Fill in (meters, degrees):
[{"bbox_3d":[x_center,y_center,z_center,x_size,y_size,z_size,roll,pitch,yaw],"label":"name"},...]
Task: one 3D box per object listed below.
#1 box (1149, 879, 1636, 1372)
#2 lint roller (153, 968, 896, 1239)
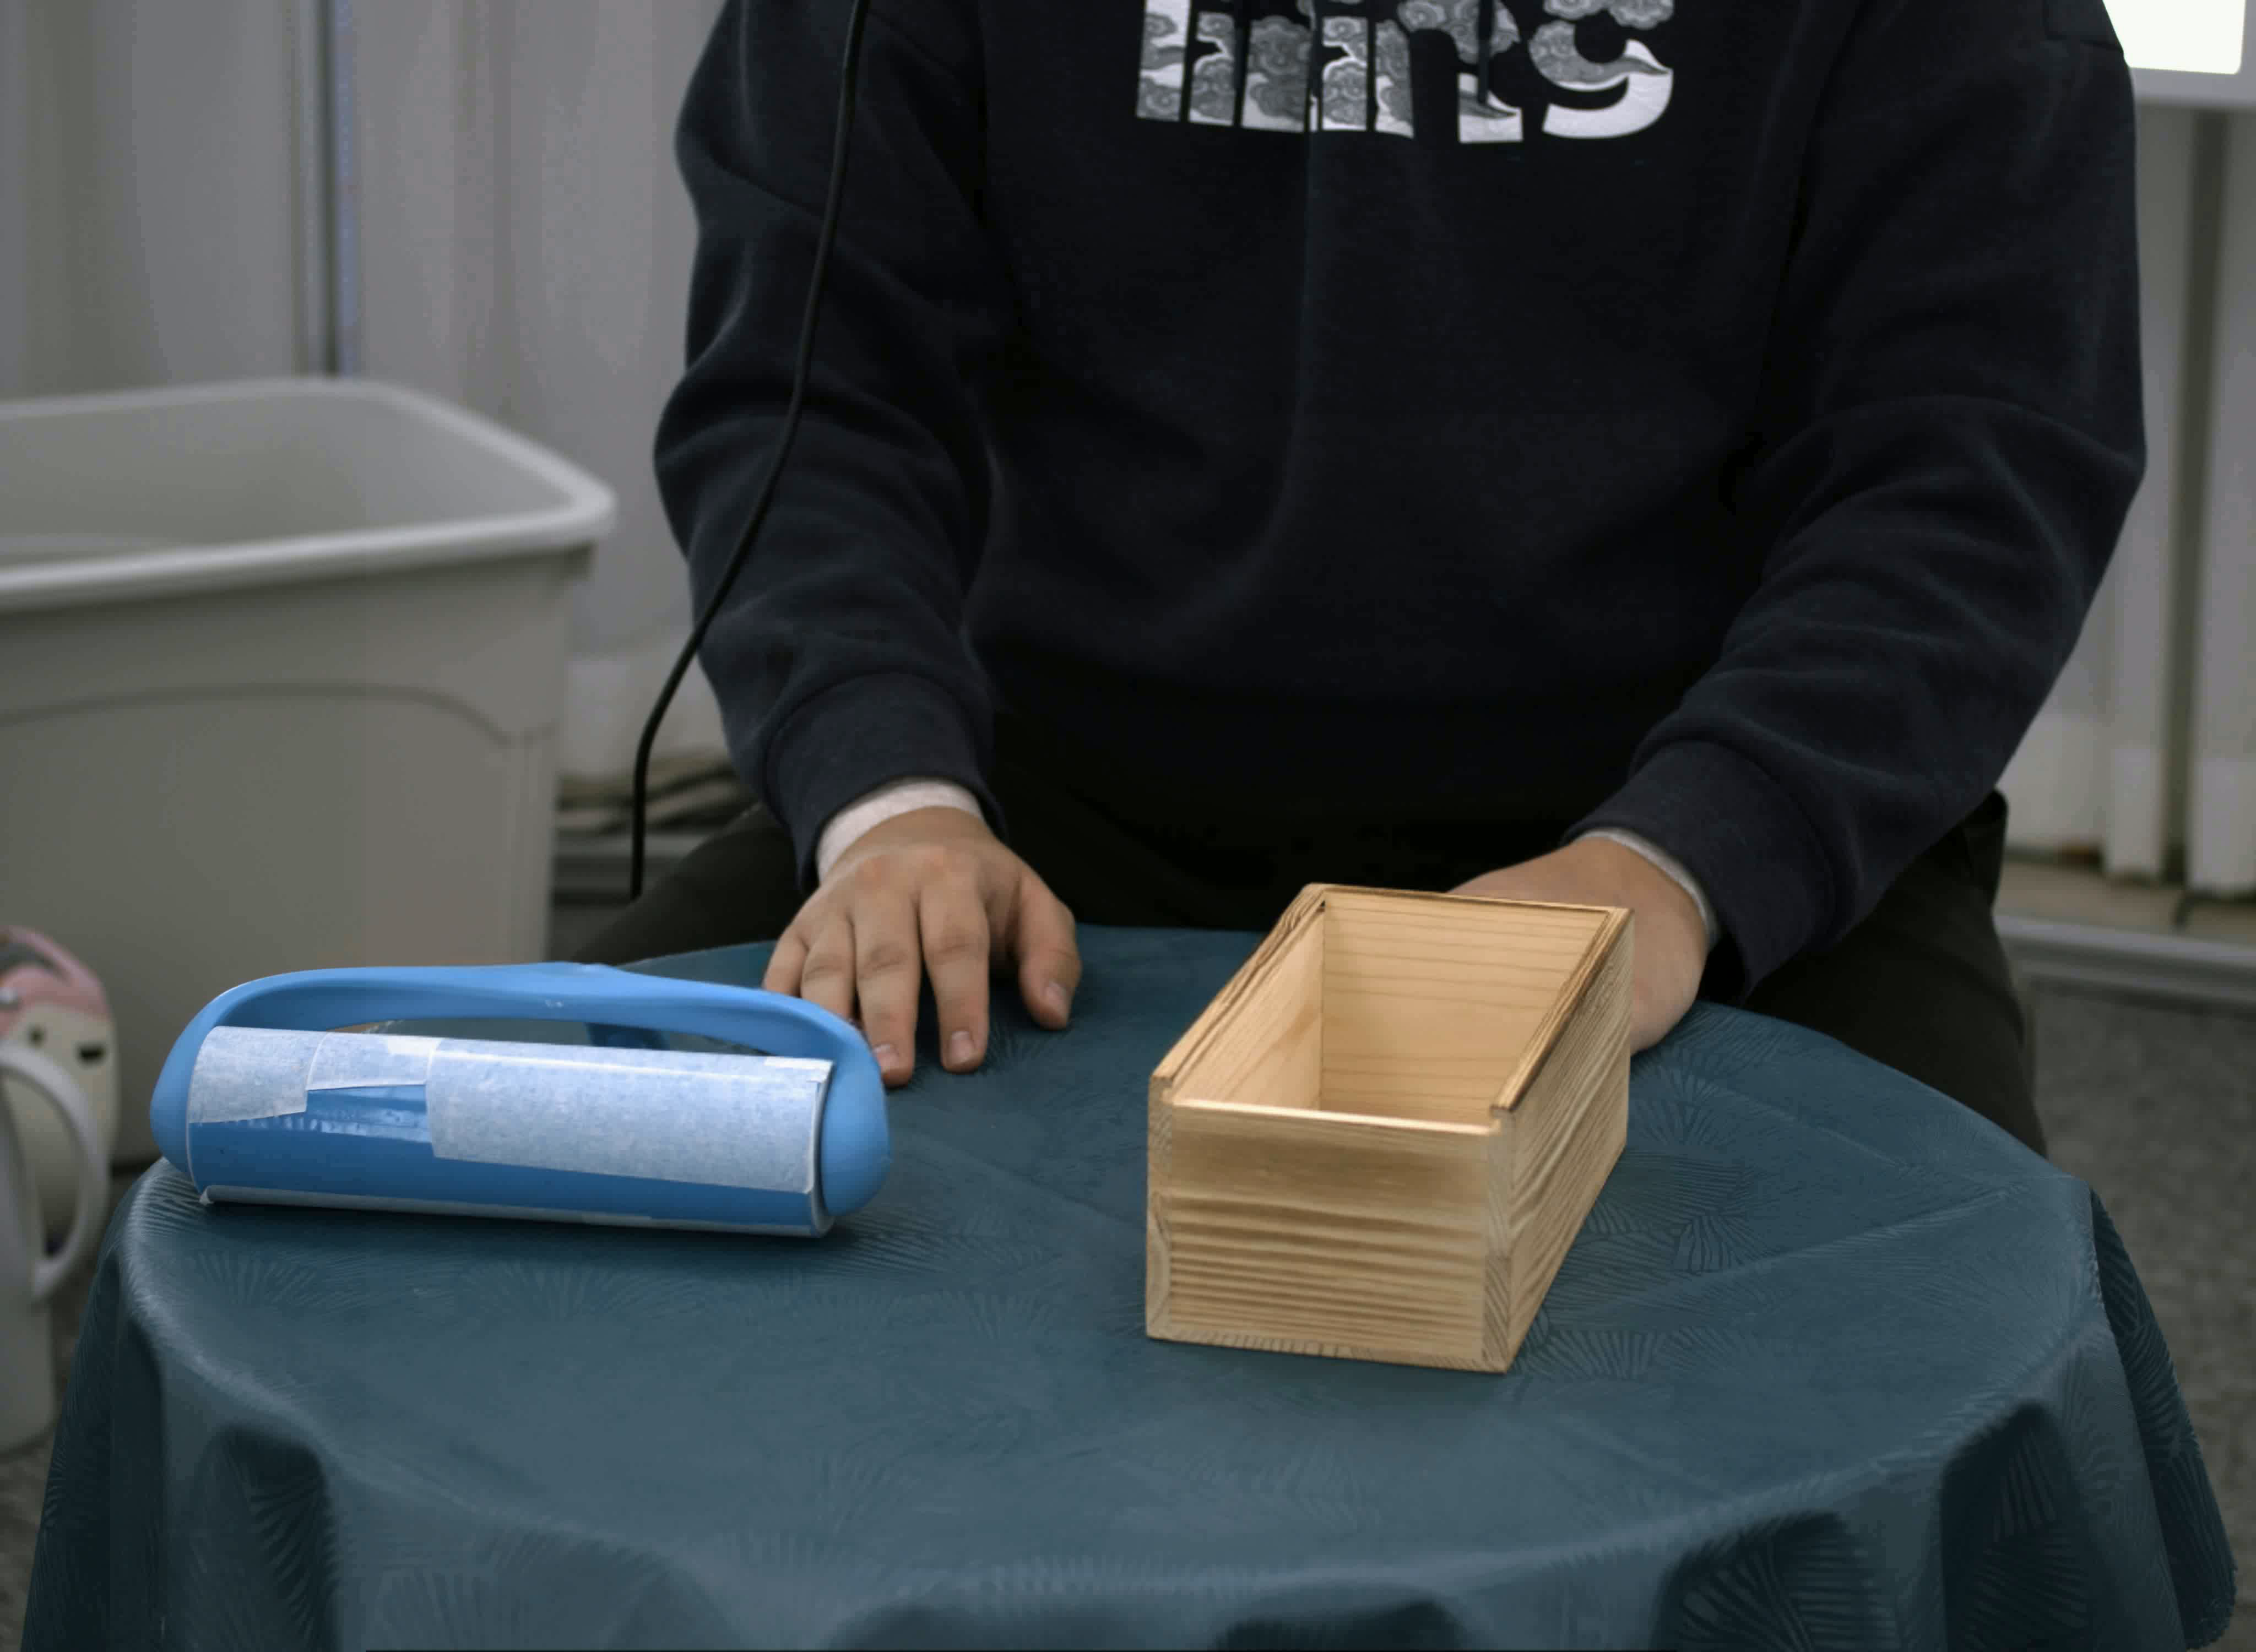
[{"bbox_3d":[0.083,0.085,1.578,0.107,0.081,0.211,5,16,13],"label":"box"},{"bbox_3d":[-0.175,0.074,1.643,0.227,0.068,0.179,1,17,7],"label":"lint roller"}]
